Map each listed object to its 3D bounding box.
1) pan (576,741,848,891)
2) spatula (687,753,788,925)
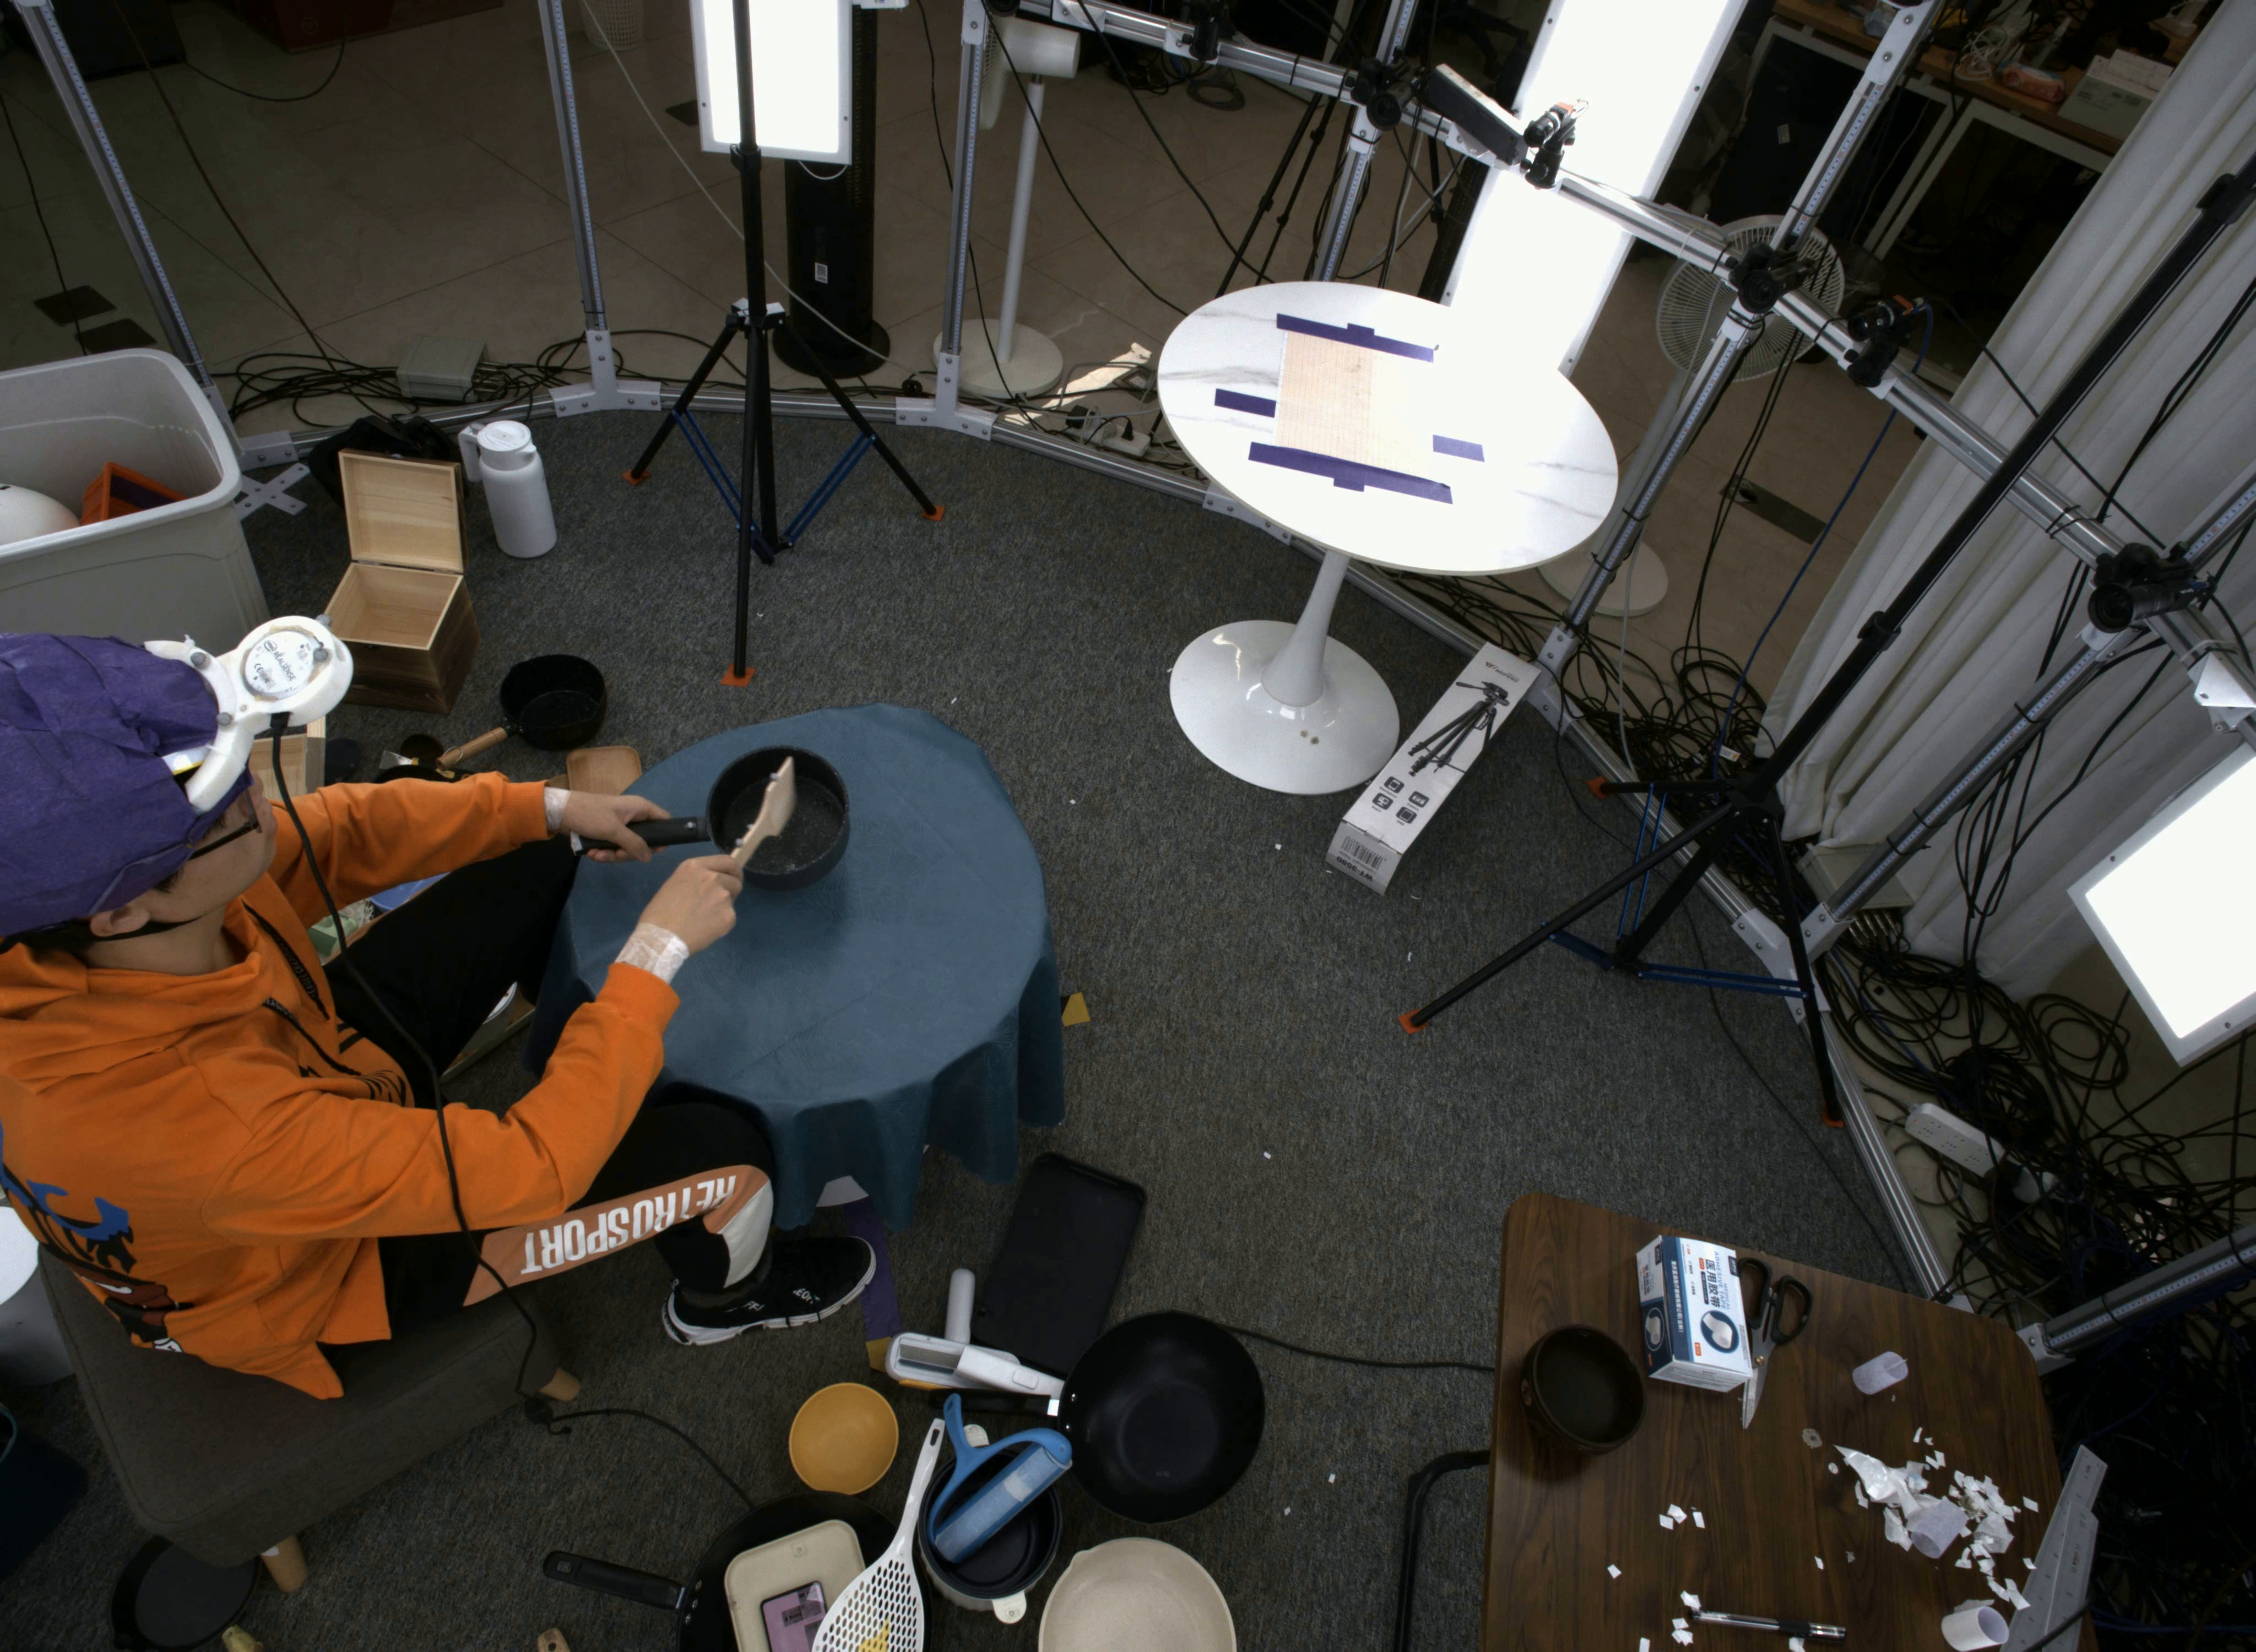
[{"bbox_3d":[-0.504,0.000,1.567,0.328,0.087,0.170,-7,69,-13],"label":"pan"},{"bbox_3d":[-0.437,0.015,1.463,0.010,0.074,0.288,9,34,4],"label":"spatula"}]
